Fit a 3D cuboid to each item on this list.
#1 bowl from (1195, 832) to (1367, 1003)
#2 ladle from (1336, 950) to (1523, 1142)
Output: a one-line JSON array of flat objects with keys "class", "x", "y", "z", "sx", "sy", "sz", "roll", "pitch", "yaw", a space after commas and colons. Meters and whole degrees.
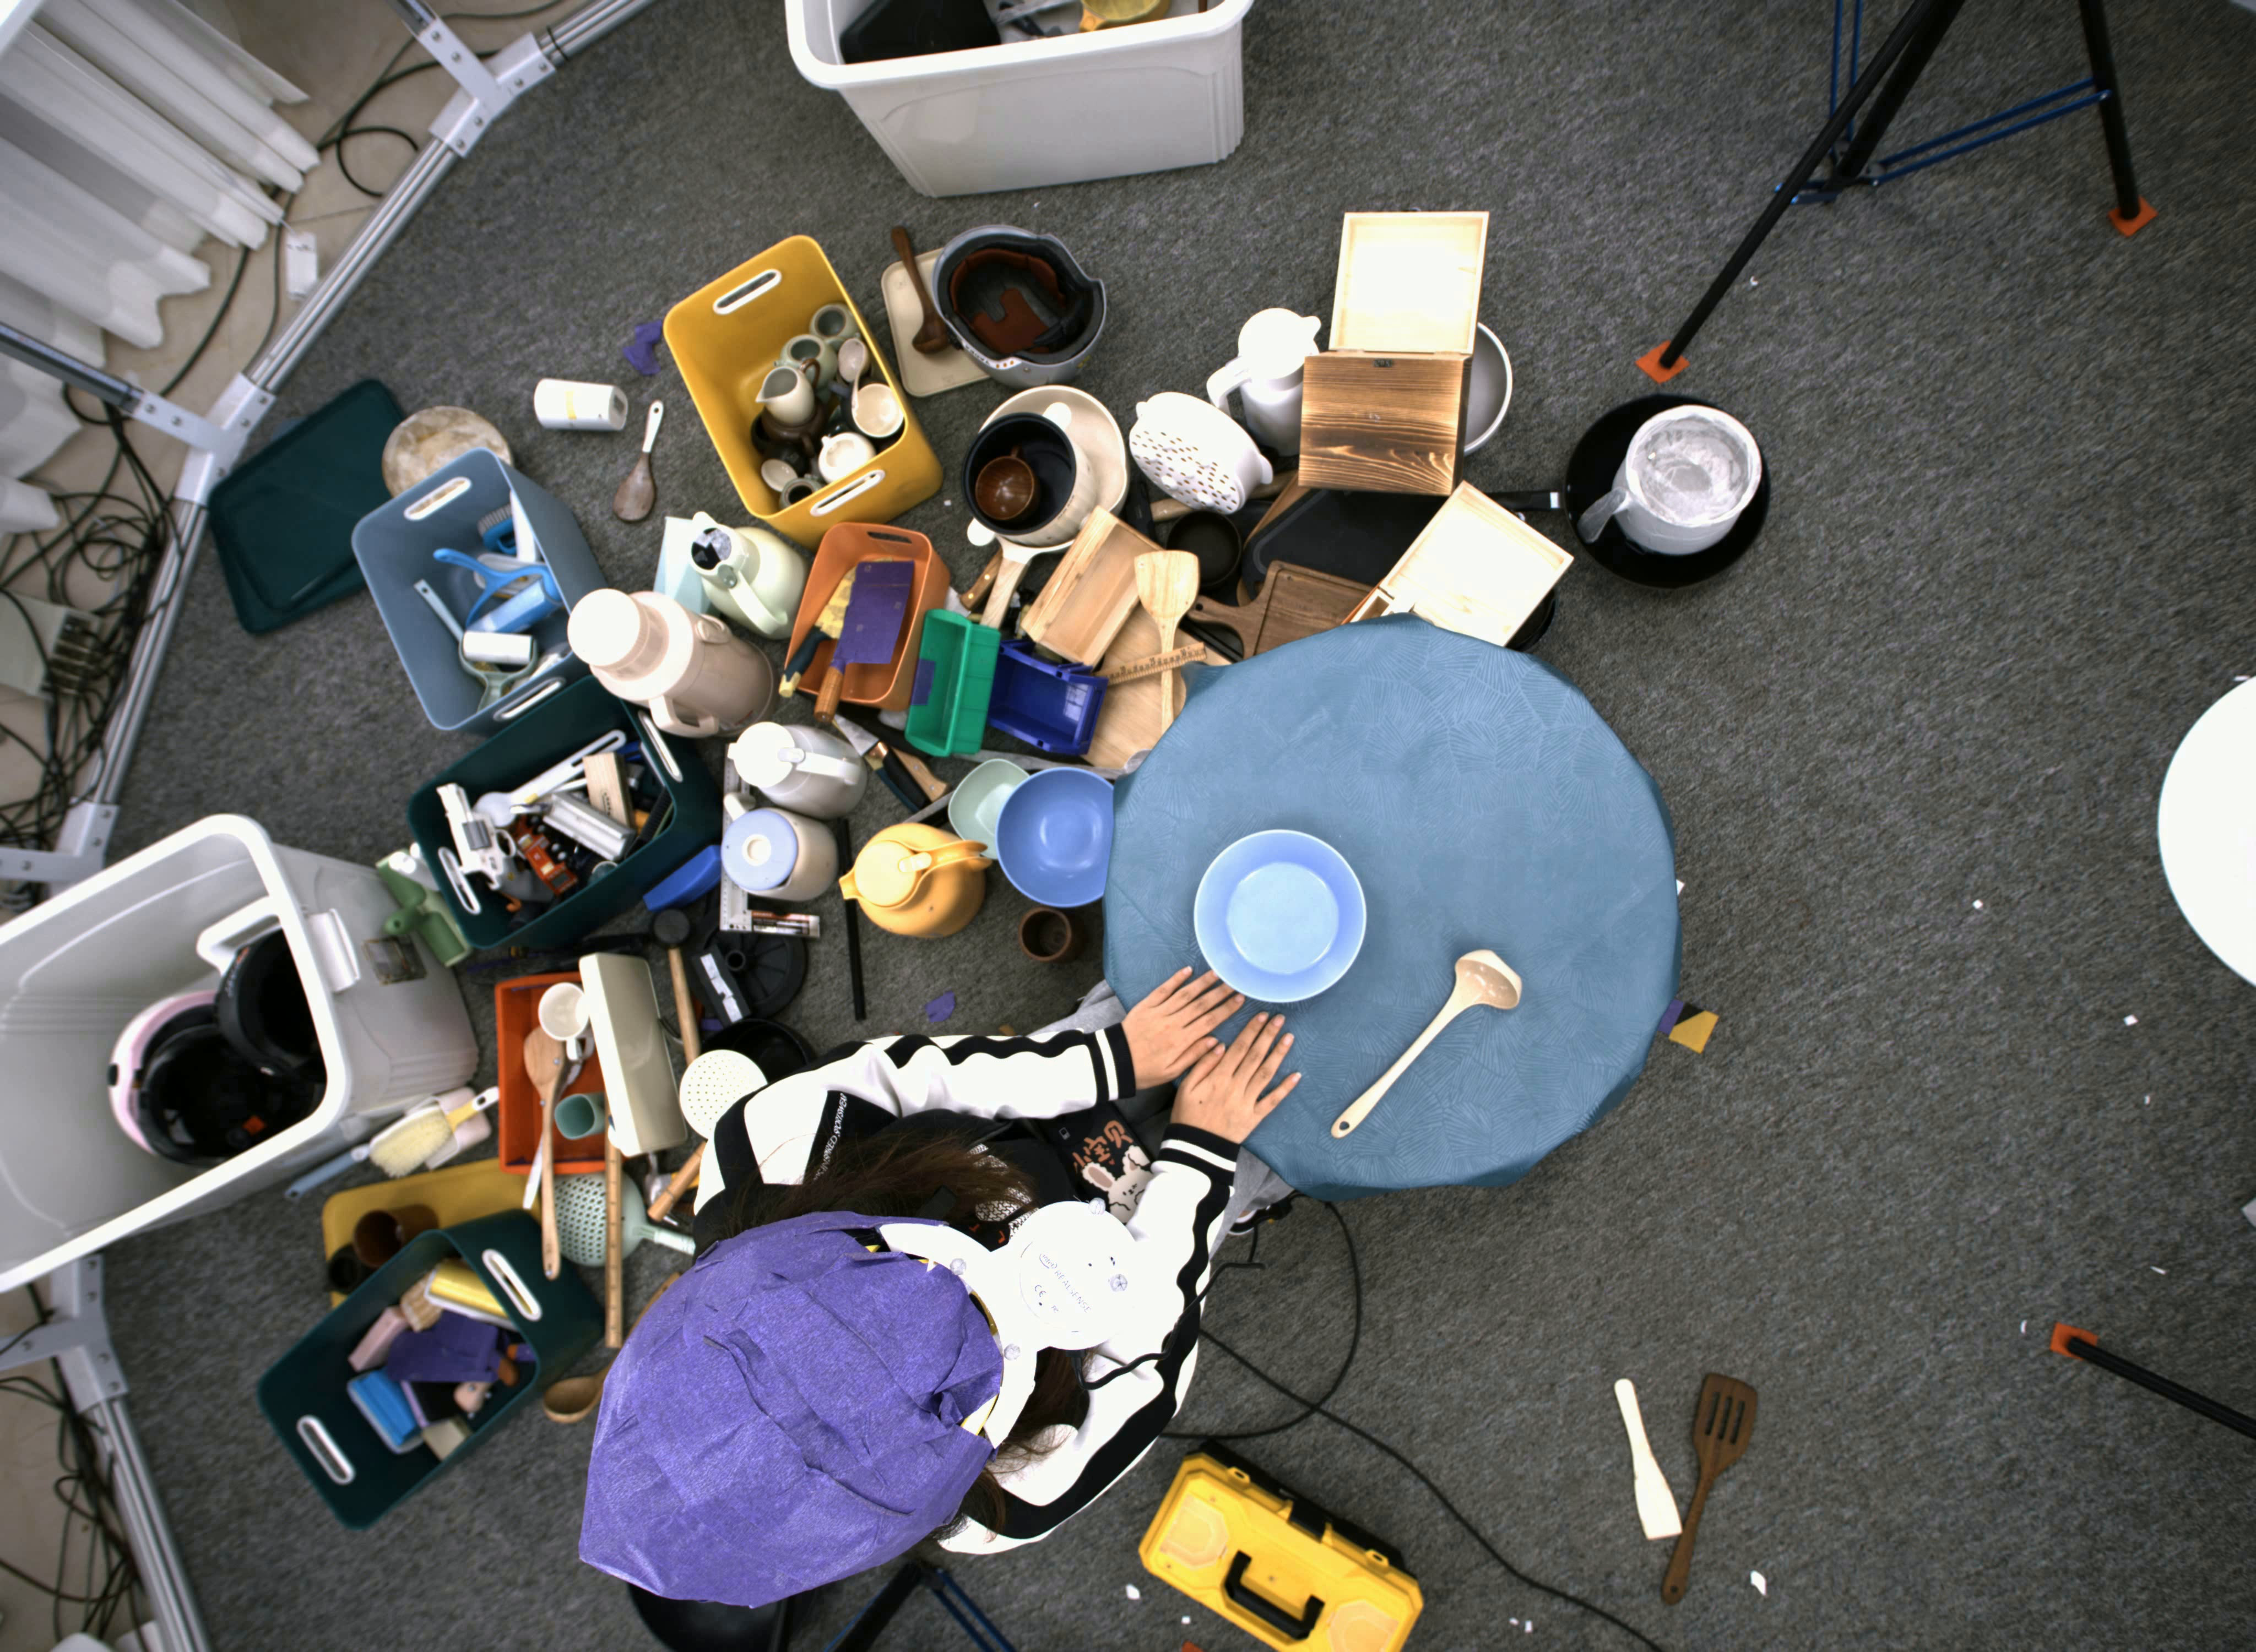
[{"class": "bowl", "x": 0.160, "y": 0.096, "z": 1.444, "sx": 0.177, "sy": 0.070, "sz": 0.175, "roll": -1, "pitch": 85, "yaw": 11}, {"class": "ladle", "x": 0.302, "y": 0.232, "z": 1.409, "sx": 0.072, "sy": 0.072, "sz": 0.255, "roll": 40, "pitch": 95, "yaw": -2}]
